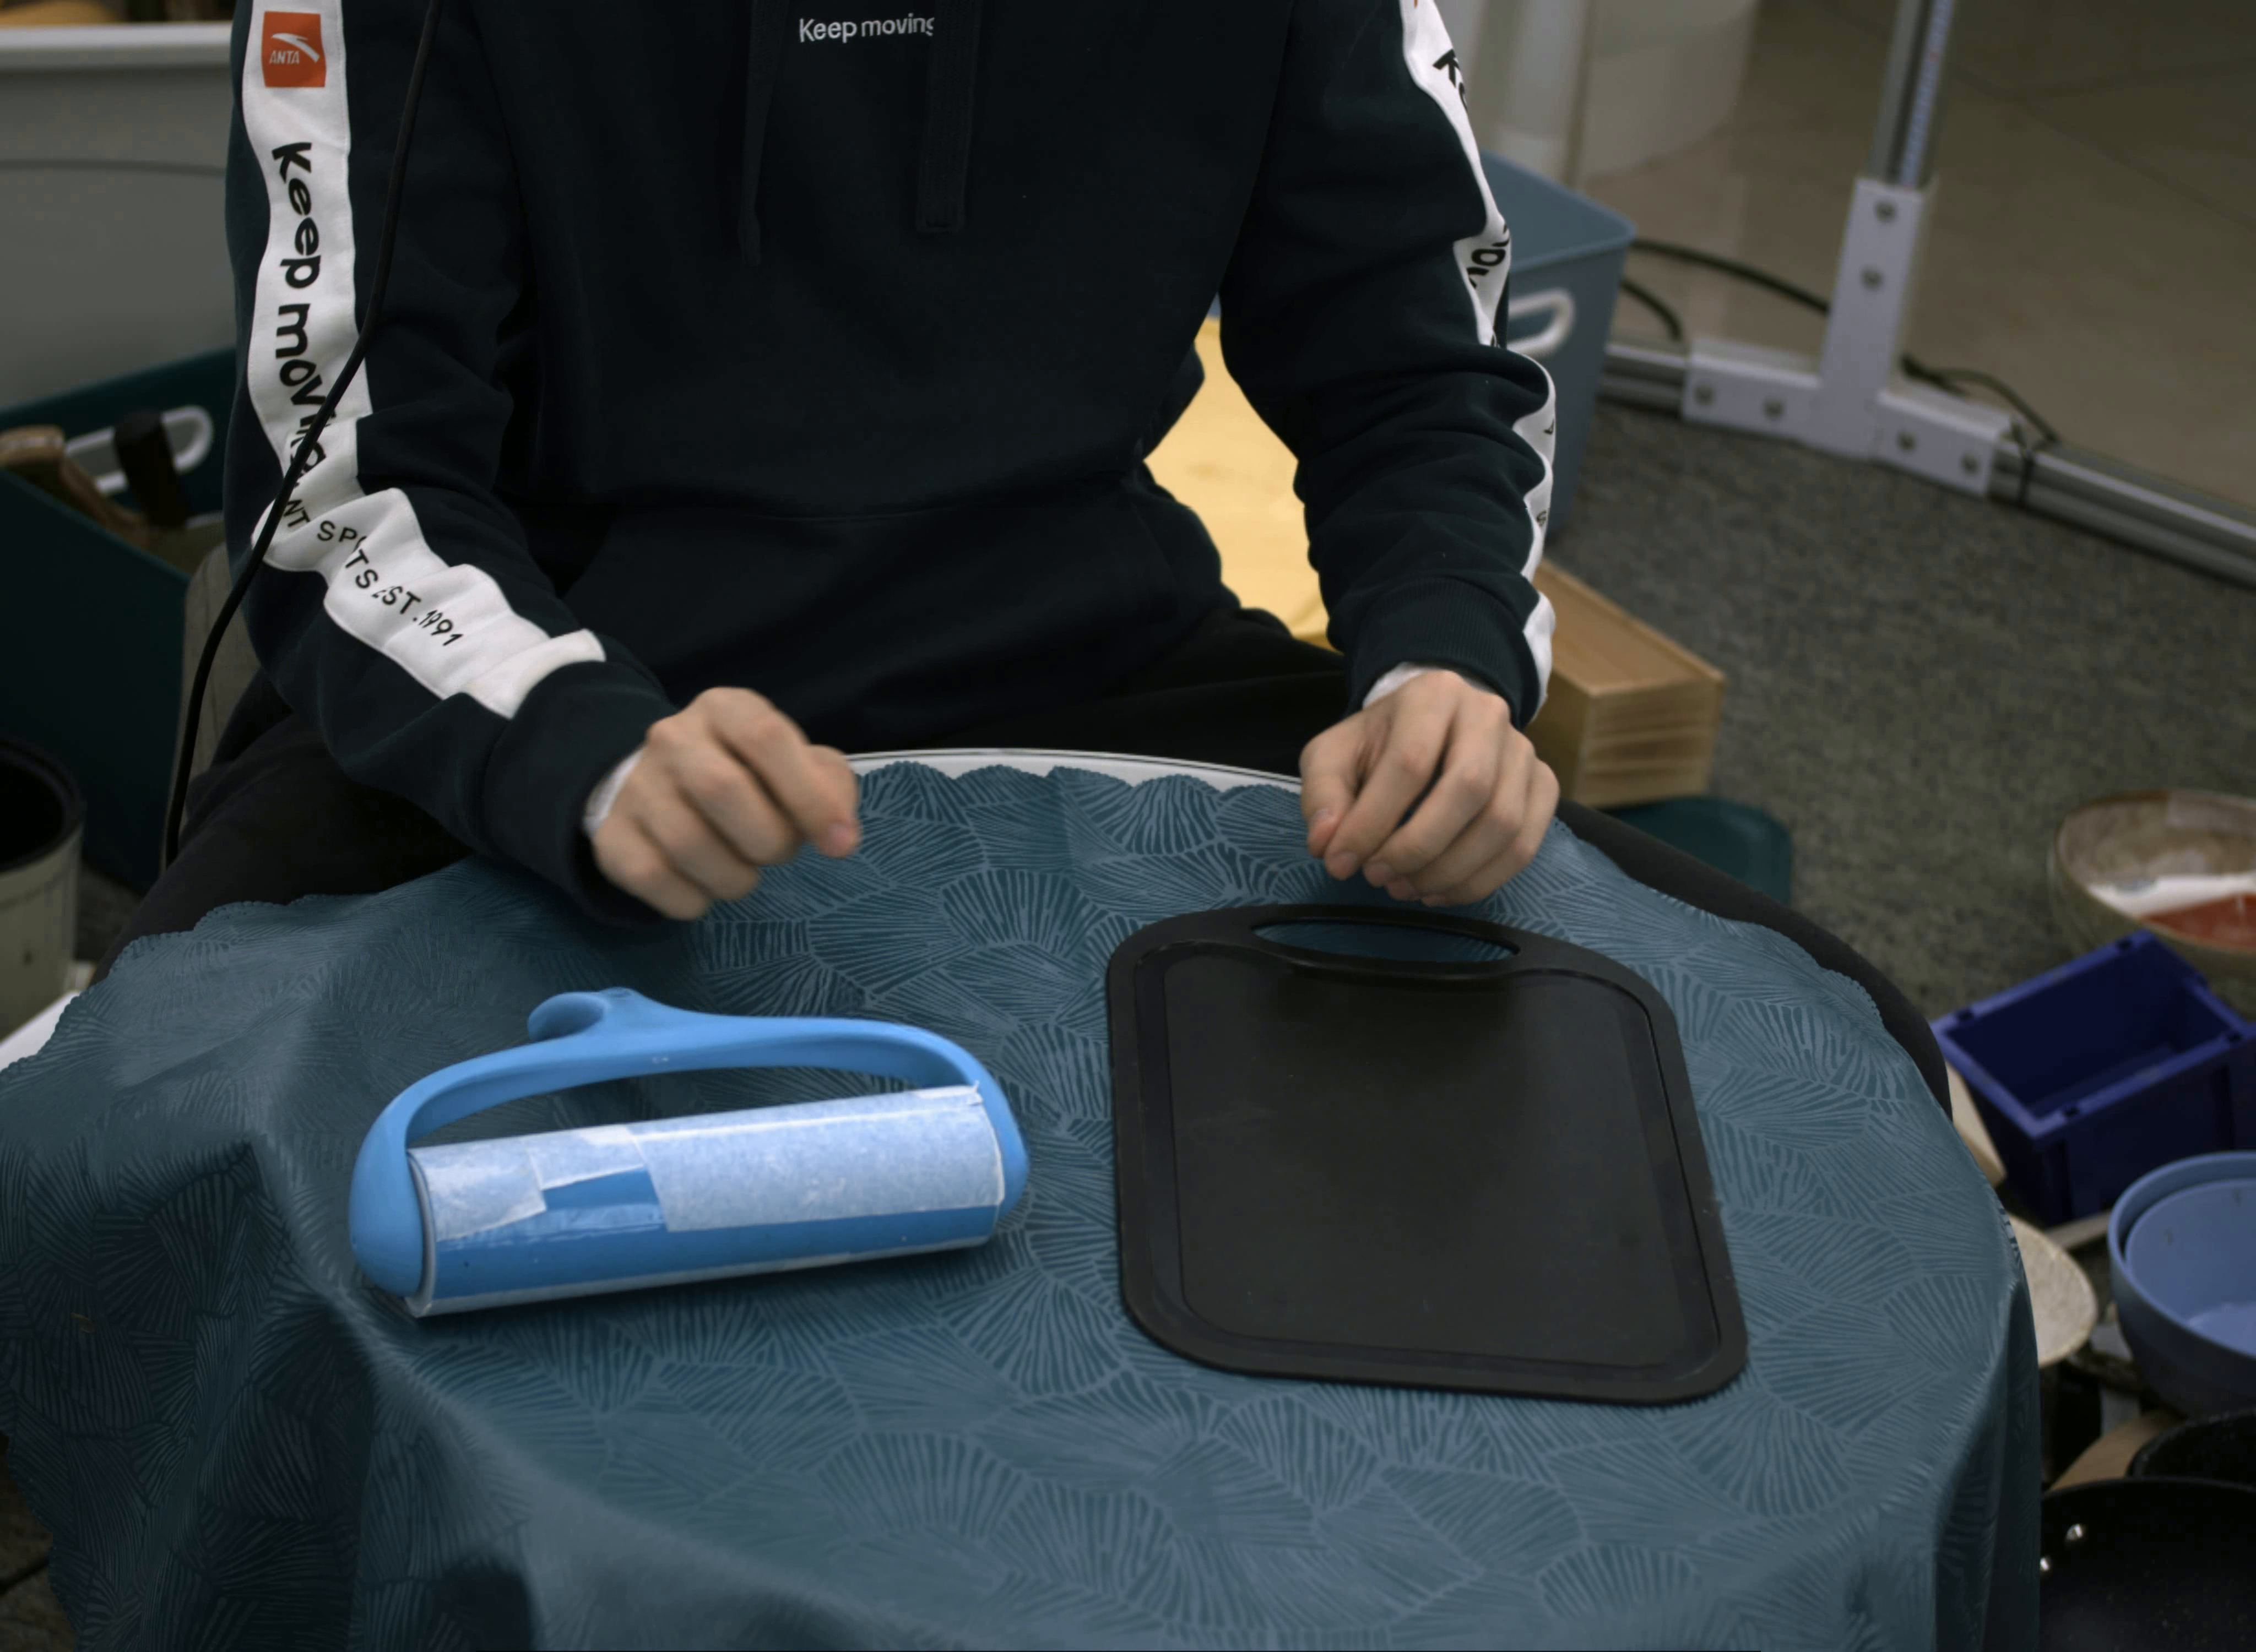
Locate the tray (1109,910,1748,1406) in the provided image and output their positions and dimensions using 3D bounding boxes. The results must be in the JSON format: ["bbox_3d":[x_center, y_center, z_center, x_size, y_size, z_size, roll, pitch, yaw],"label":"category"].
[{"bbox_3d":[0.098,0.106,1.849,0.210,0.010,0.327,5,27,-3],"label":"tray"}]

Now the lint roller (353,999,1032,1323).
[{"bbox_3d":[-0.163,0.092,1.761,0.227,0.067,0.182,-8,31,-24],"label":"lint roller"}]
